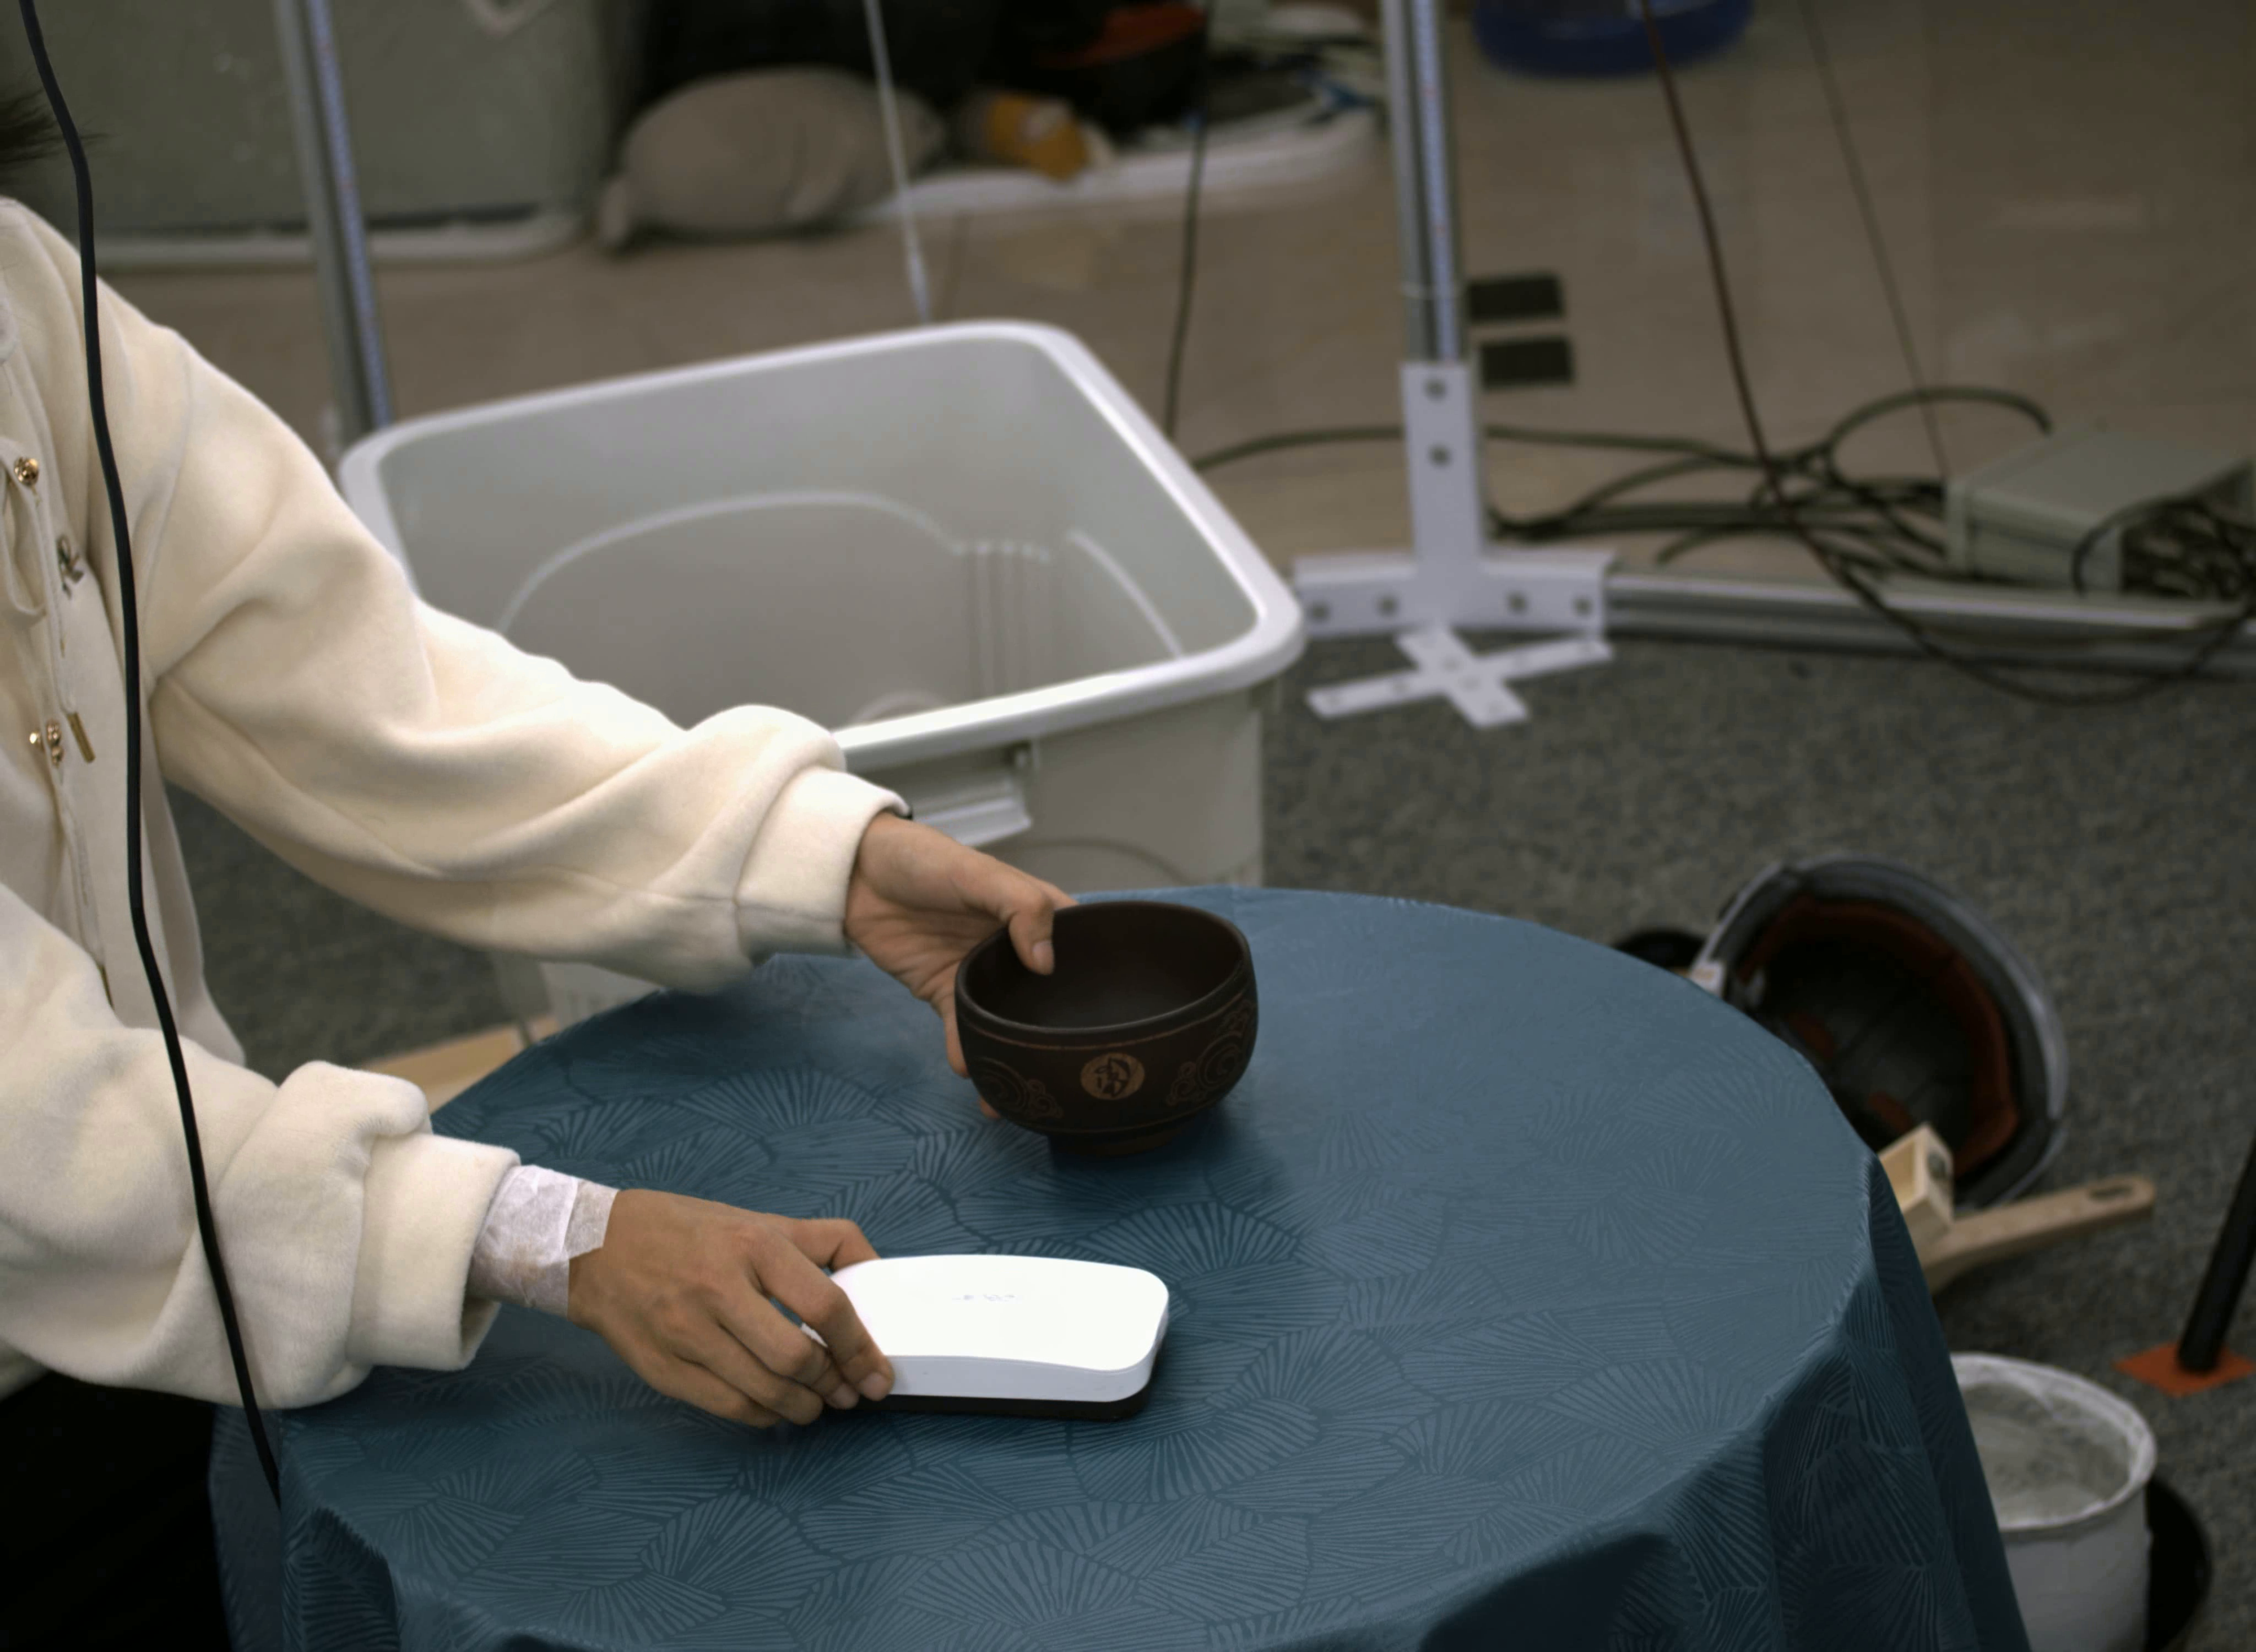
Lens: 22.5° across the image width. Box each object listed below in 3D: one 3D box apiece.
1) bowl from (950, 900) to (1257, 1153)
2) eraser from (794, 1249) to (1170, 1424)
[{"bbox_3d":[-0.008,0.083,2.184,0.118,0.071,0.116,-6,23,3],"label":"bowl"},{"bbox_3d":[-0.051,0.183,2.026,0.131,0.035,0.062,1,30,14],"label":"eraser"}]
